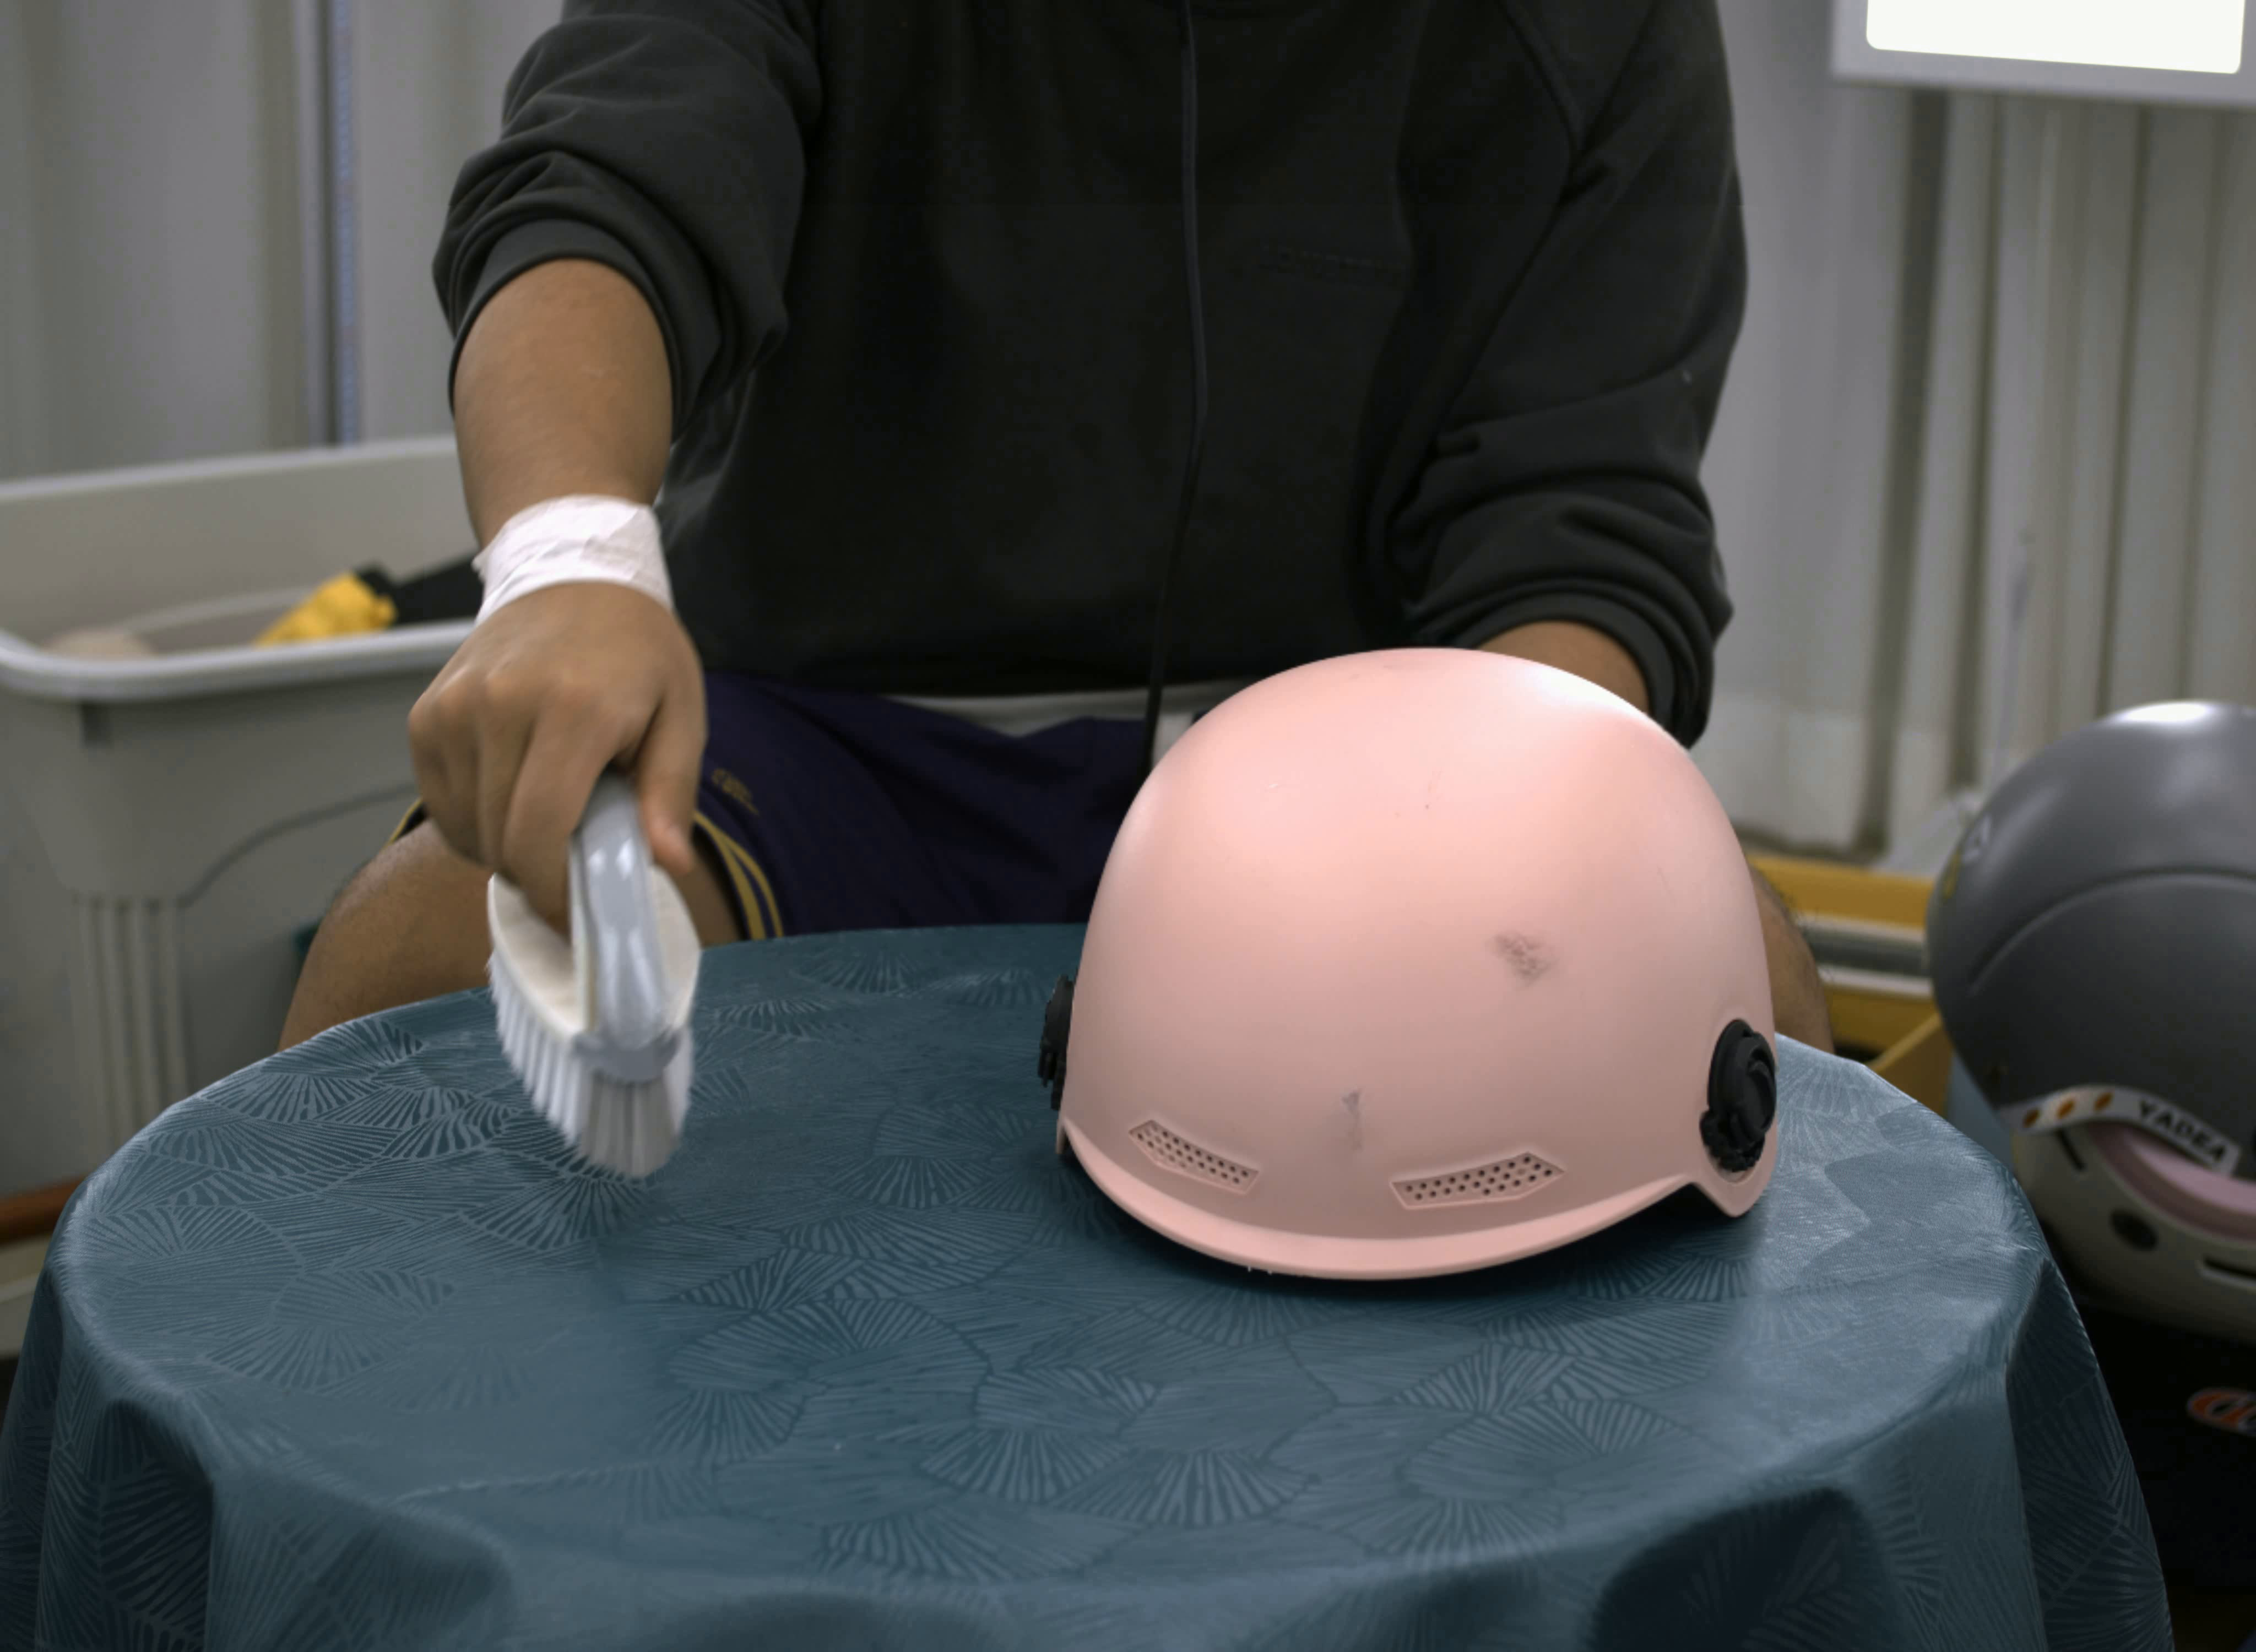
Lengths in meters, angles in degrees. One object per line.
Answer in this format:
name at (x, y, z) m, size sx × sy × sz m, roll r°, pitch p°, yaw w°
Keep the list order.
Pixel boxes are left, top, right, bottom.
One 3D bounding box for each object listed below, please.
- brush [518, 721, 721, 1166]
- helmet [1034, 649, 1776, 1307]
brush at (-0.152, 0.028, 1.595) m, size 0.061 × 0.095 × 0.173 m, roll -3°, pitch 24°, yaw -10°
helmet at (0.089, 0.033, 1.631) m, size 0.232 × 0.160 × 0.265 m, roll 5°, pitch 20°, yaw 14°
